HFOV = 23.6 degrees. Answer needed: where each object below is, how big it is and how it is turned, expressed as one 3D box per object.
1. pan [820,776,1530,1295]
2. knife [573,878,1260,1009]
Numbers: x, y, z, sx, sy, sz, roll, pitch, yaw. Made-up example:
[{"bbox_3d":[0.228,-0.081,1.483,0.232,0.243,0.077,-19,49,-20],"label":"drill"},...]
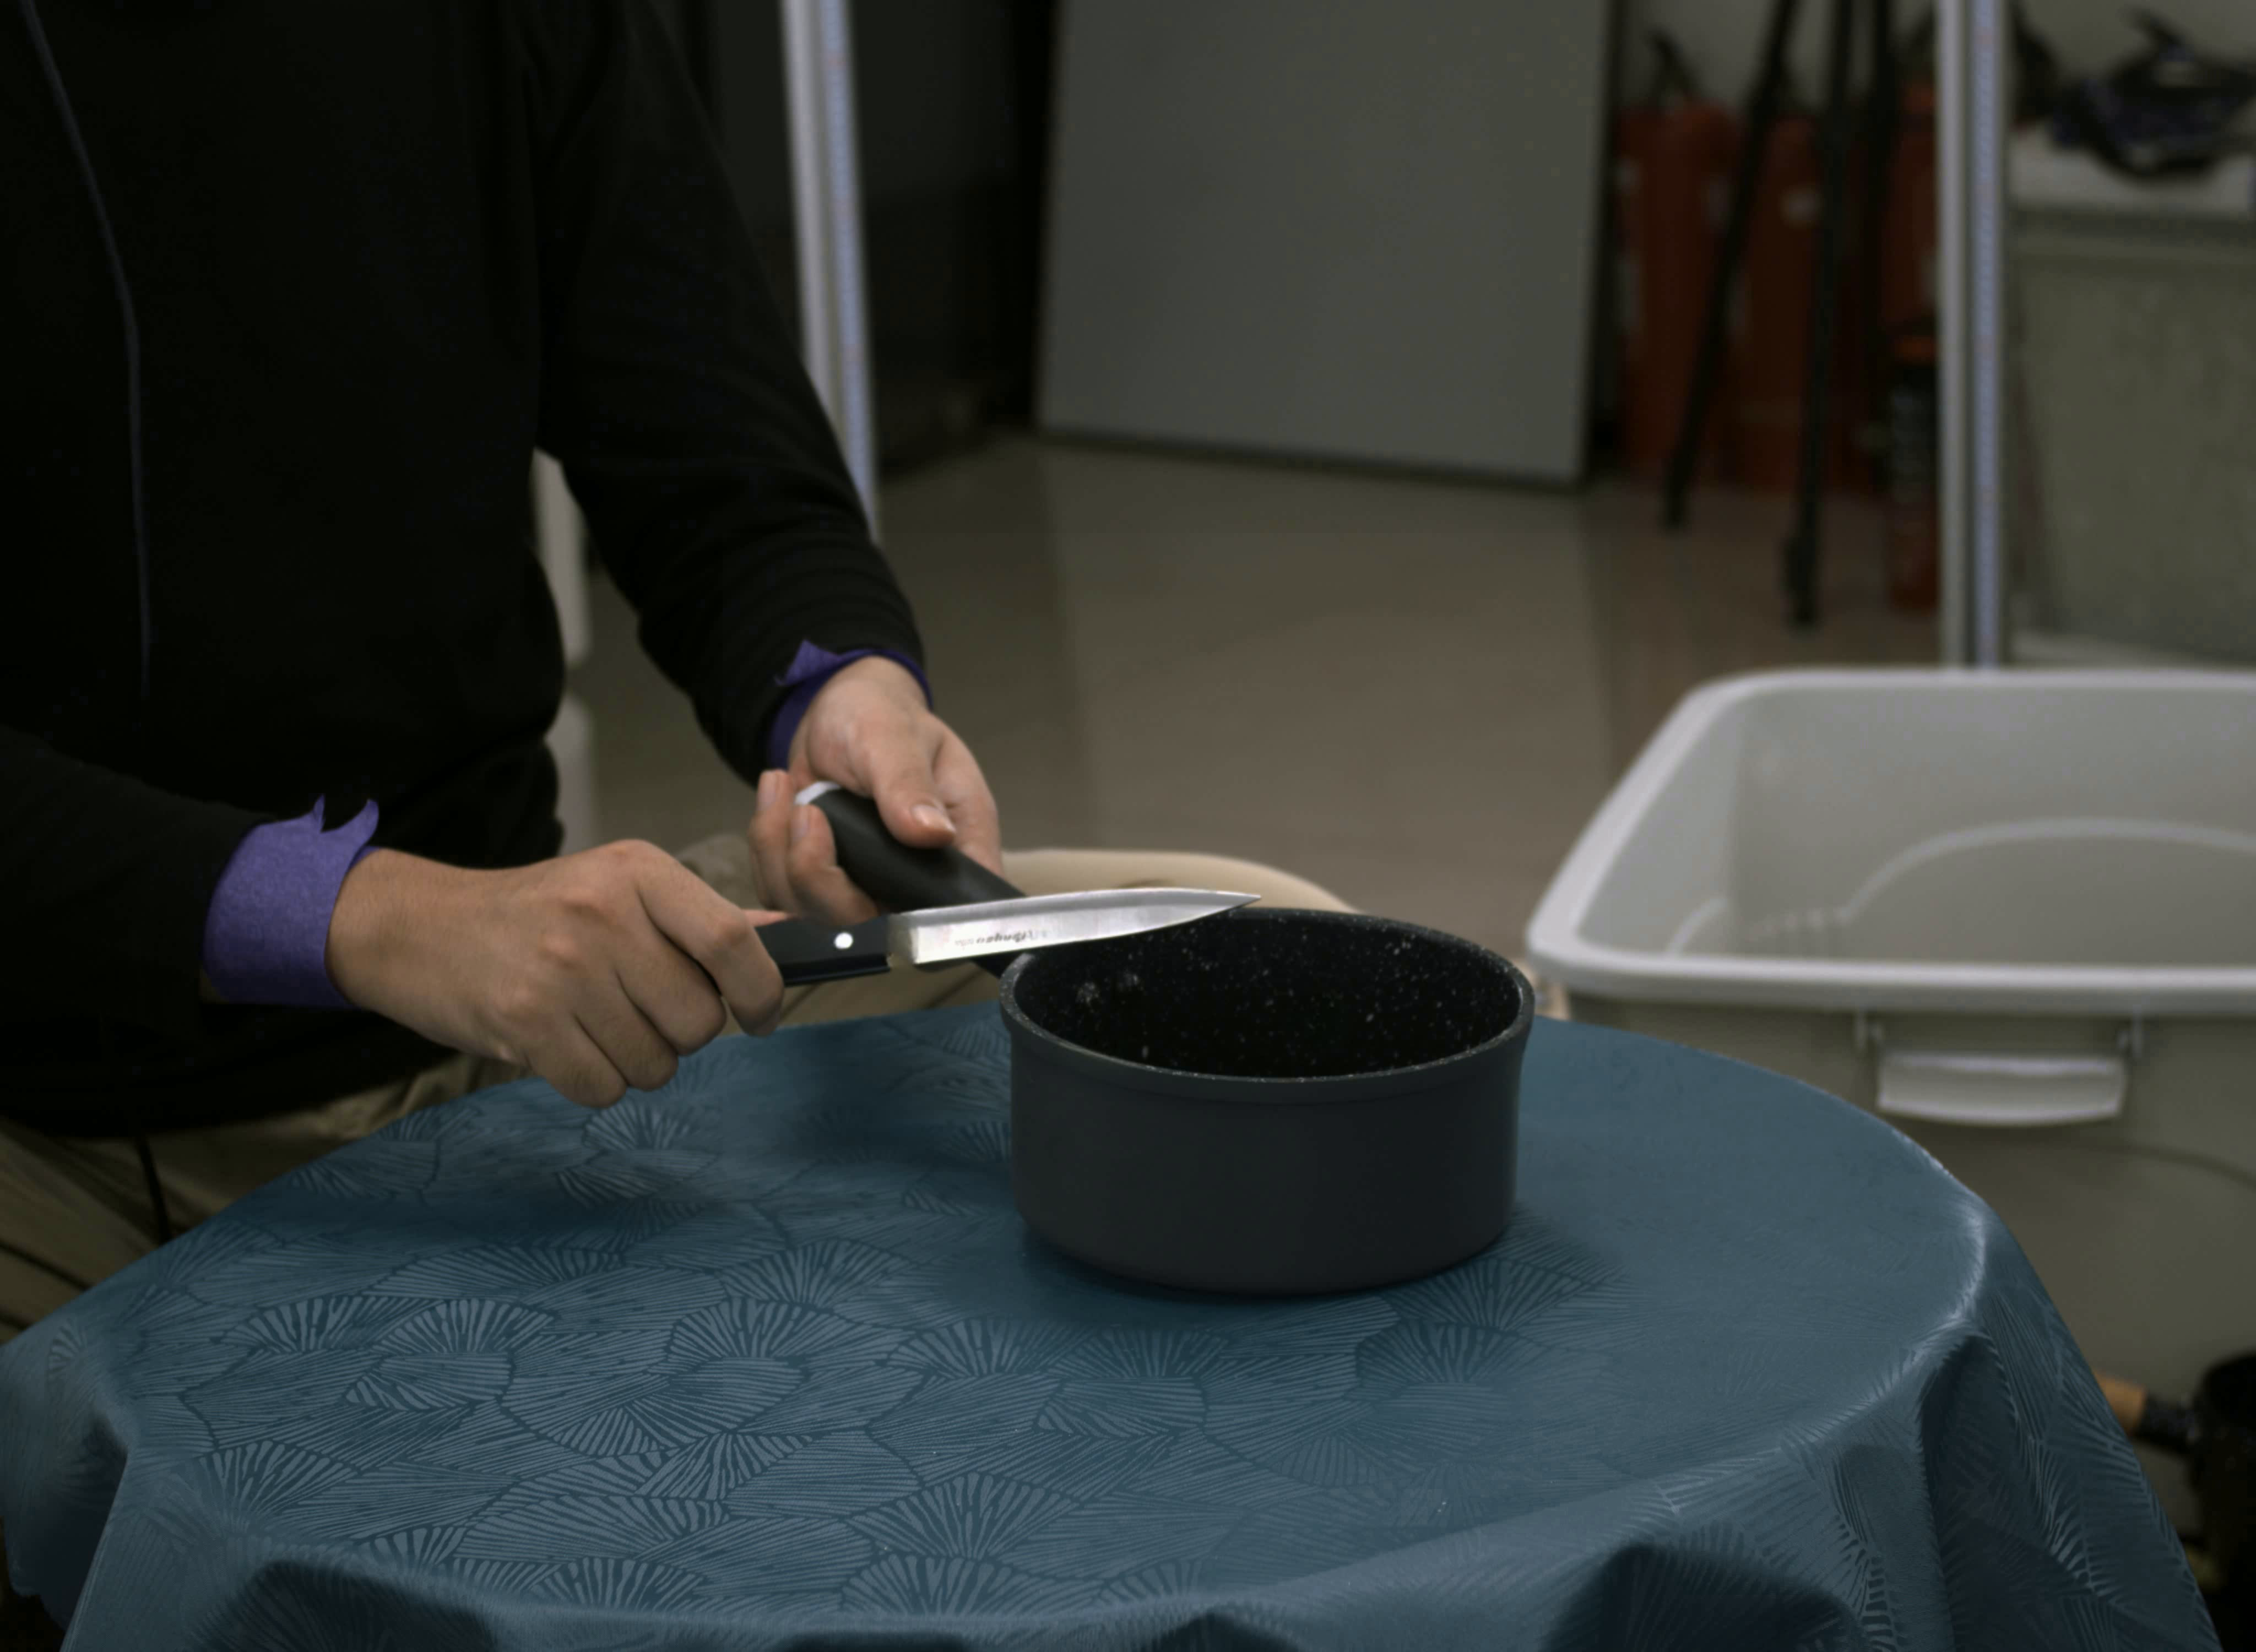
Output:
[{"bbox_3d":[-0.003,0.065,1.779,0.168,0.087,0.332,-11,21,-34],"label":"pan"},{"bbox_3d":[-0.071,0.038,1.764,0.237,0.016,0.024,-8,48,15],"label":"knife"}]
